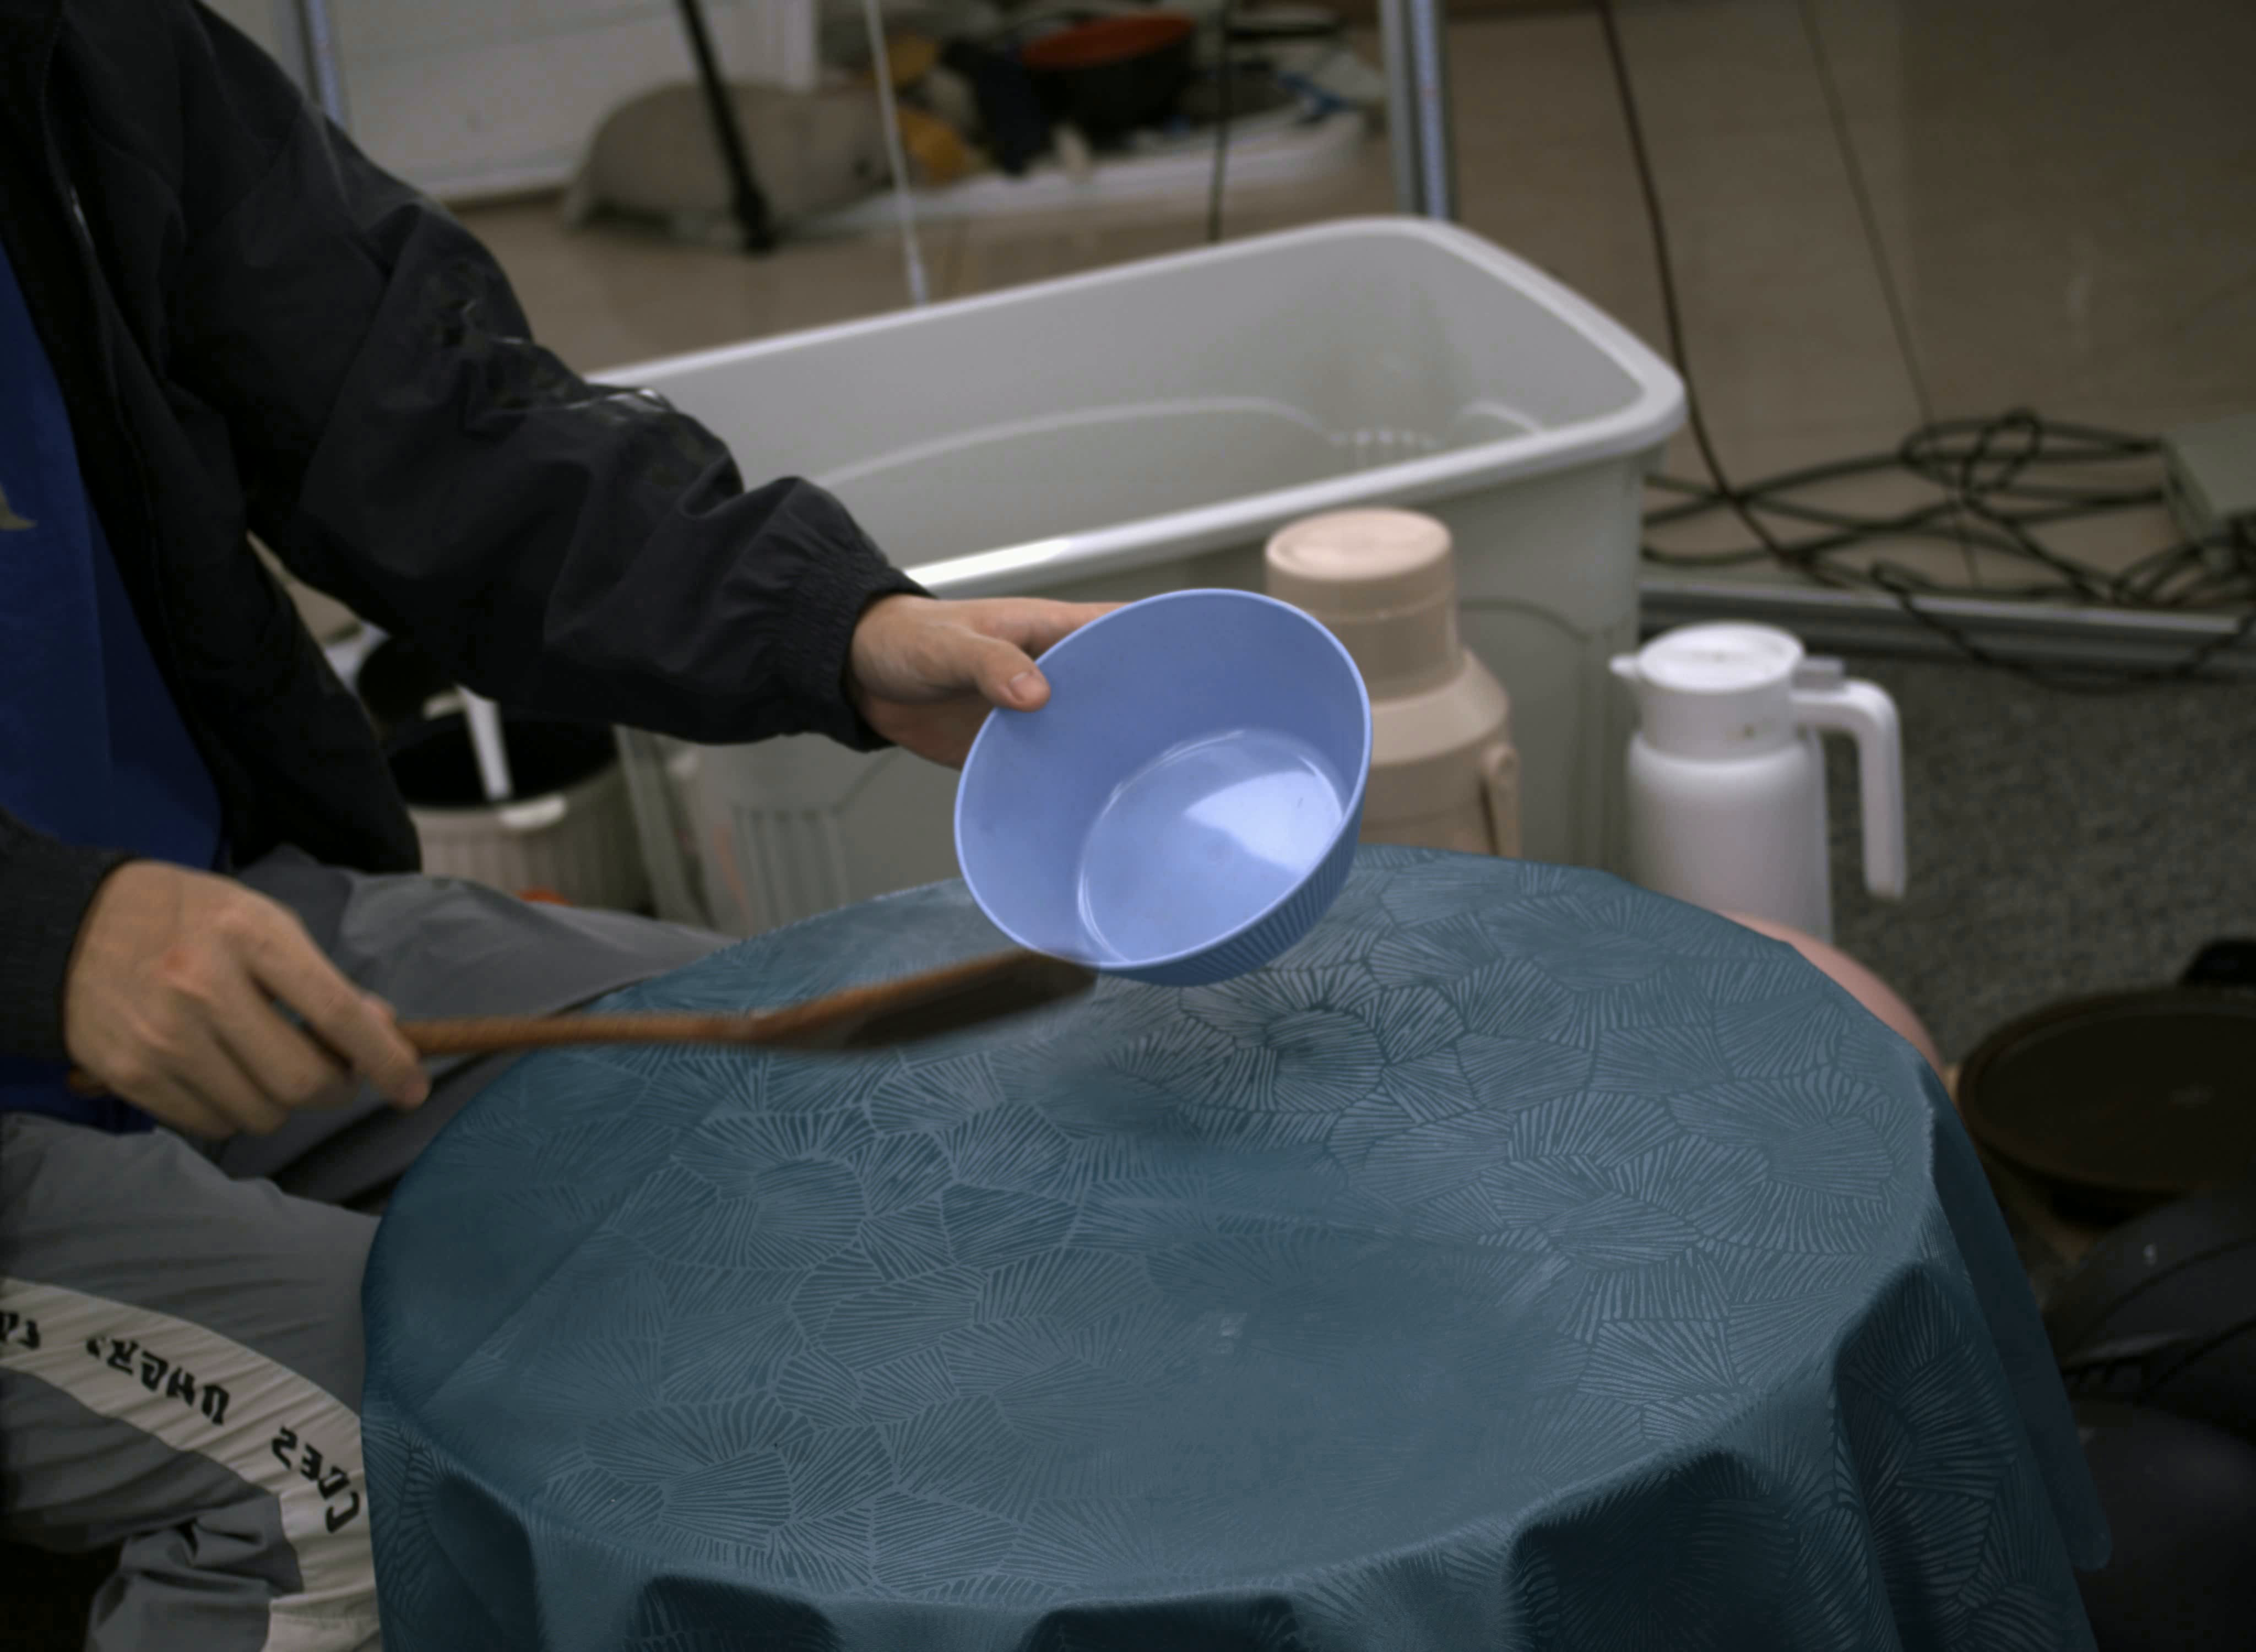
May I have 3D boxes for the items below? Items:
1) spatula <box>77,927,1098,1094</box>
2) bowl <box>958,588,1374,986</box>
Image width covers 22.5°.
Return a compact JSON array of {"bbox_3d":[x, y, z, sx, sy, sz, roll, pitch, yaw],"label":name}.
[{"bbox_3d":[-0.198,0.070,2.013,0.386,0.024,0.086,-7,-11,16],"label":"spatula"},{"bbox_3d":[0.026,-0.003,2.230,0.176,0.071,0.173,-14,54,19],"label":"bowl"}]
